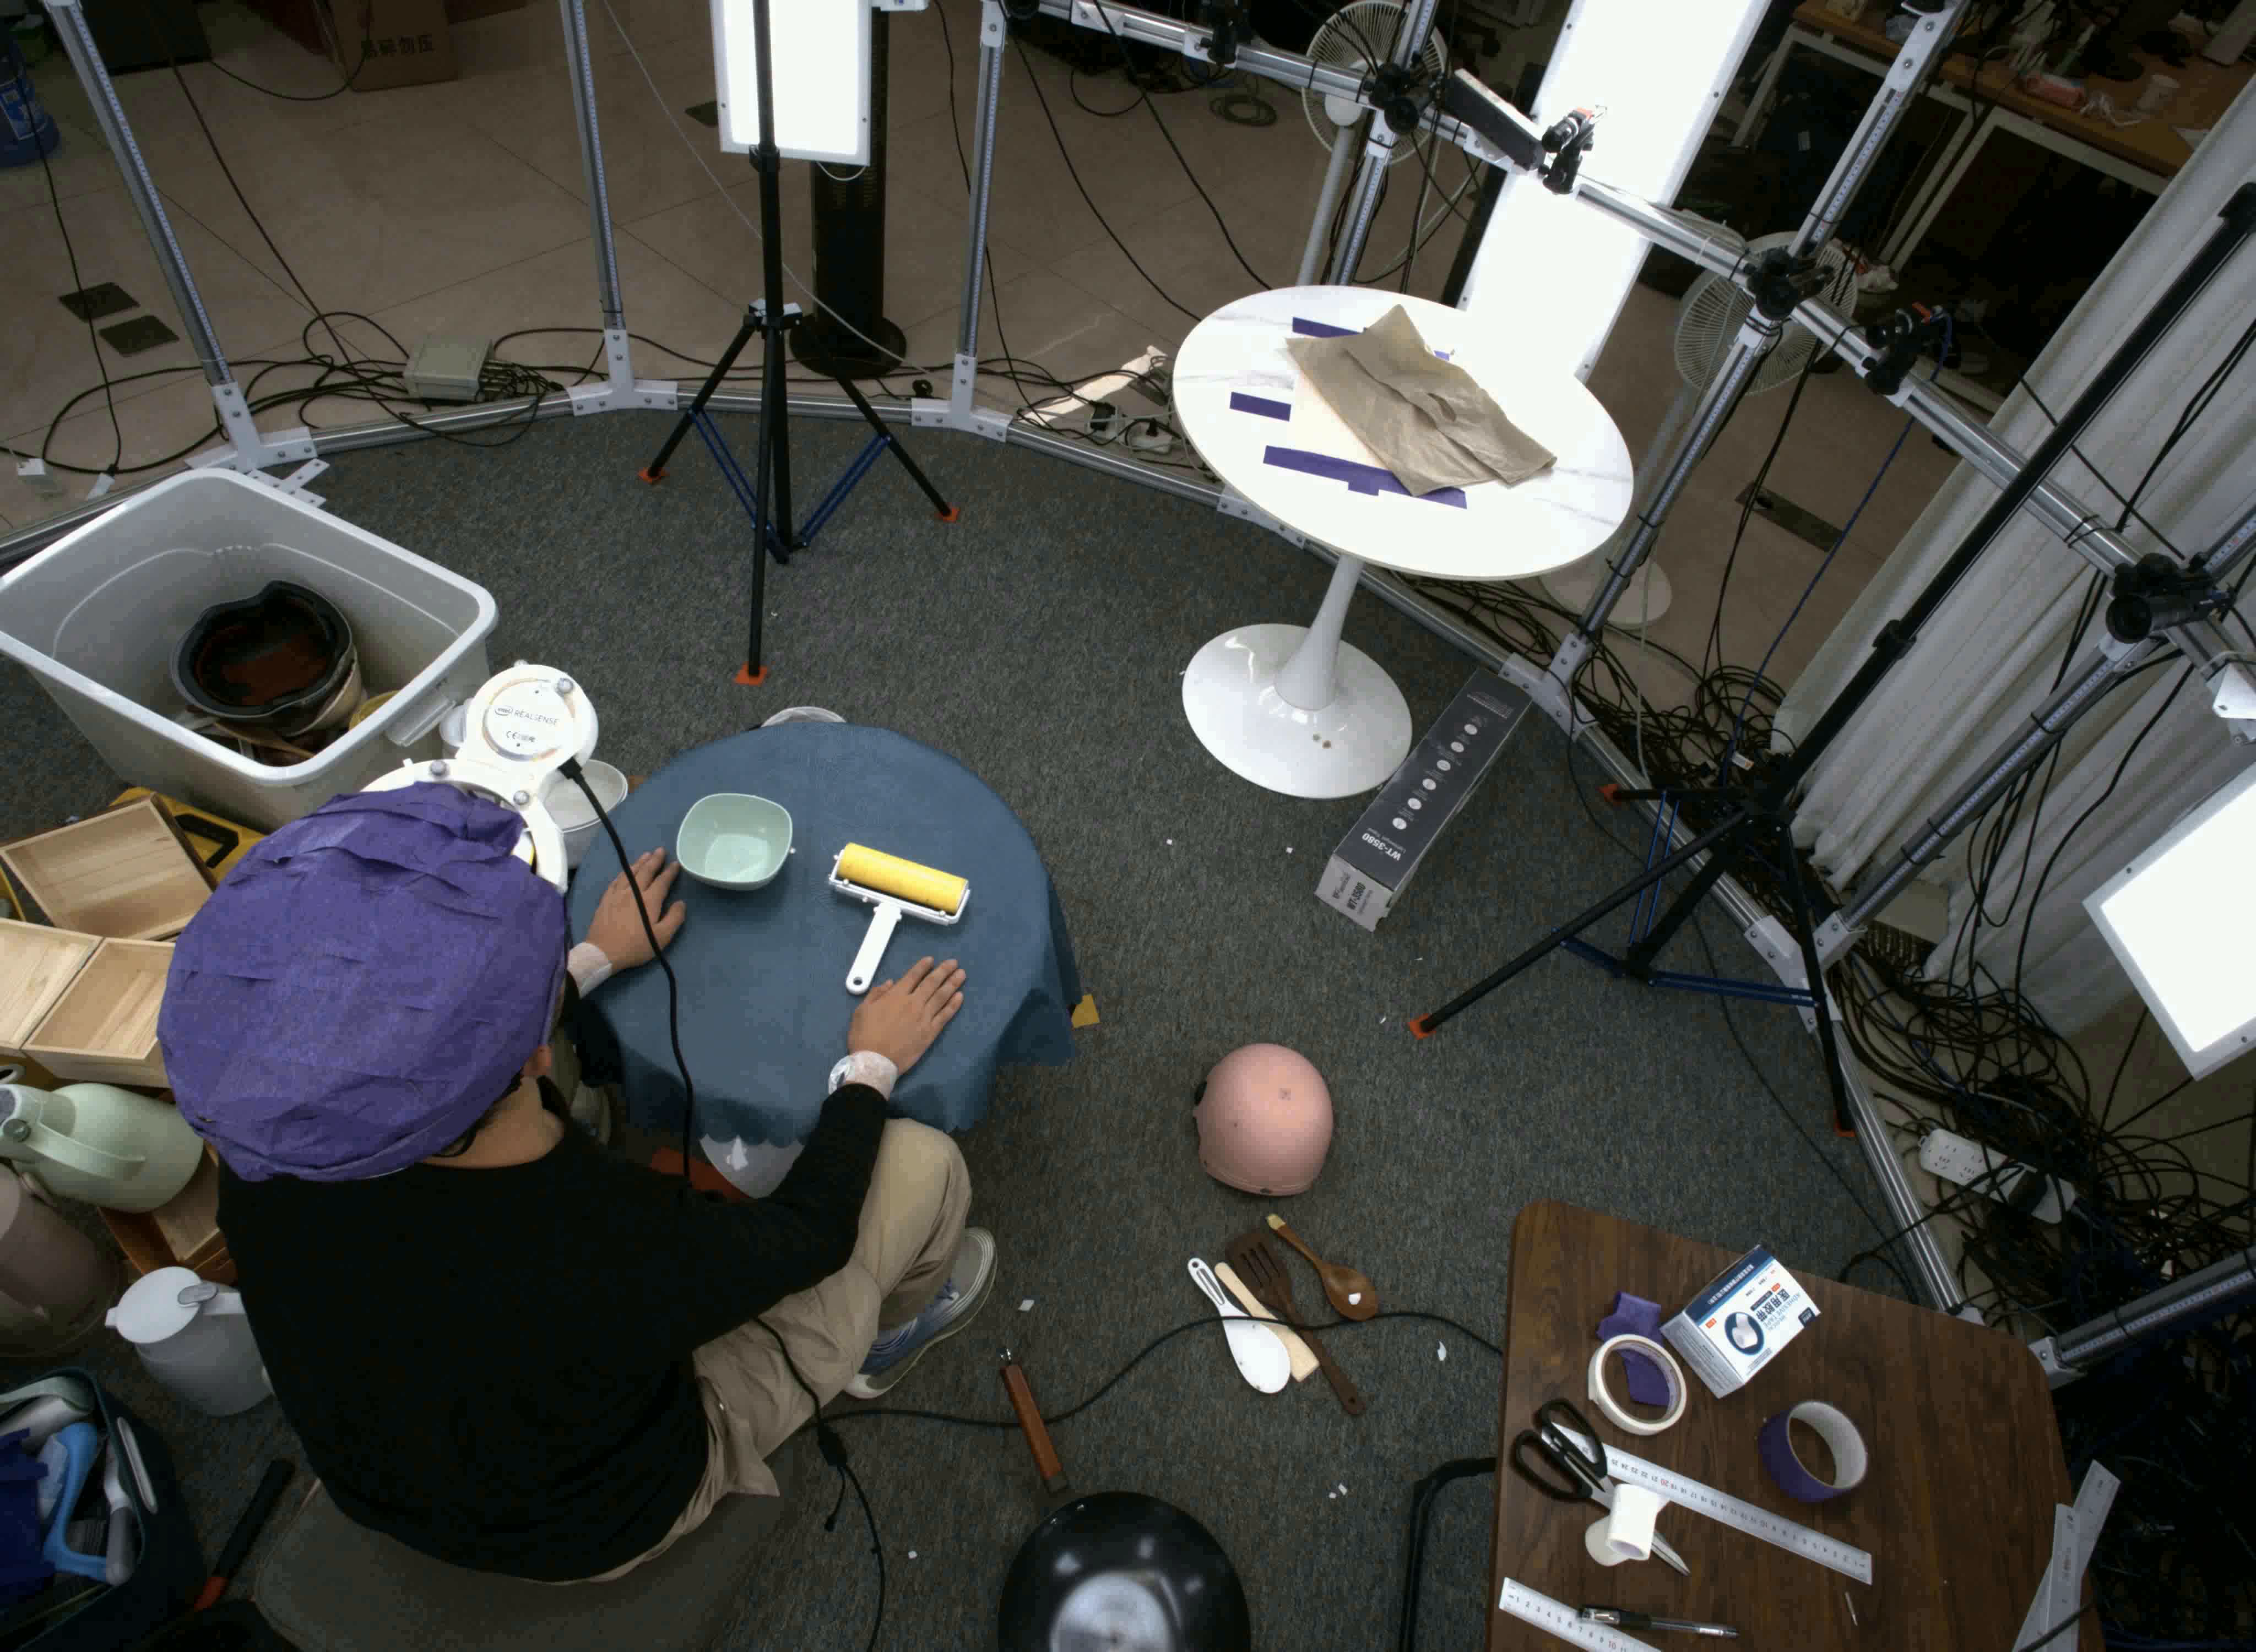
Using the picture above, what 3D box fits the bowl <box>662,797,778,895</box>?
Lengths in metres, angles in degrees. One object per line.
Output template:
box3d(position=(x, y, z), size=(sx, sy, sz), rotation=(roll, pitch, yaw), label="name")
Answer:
box3d(position=(-0.514, 0.034, 1.633), size=(0.151, 0.060, 0.148), rotation=(9, 50, -9), label="bowl")

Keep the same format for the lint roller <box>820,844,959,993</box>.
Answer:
box3d(position=(-0.317, 0.117, 1.625), size=(0.173, 0.052, 0.189), rotation=(16, 47, -2), label="lint roller")
